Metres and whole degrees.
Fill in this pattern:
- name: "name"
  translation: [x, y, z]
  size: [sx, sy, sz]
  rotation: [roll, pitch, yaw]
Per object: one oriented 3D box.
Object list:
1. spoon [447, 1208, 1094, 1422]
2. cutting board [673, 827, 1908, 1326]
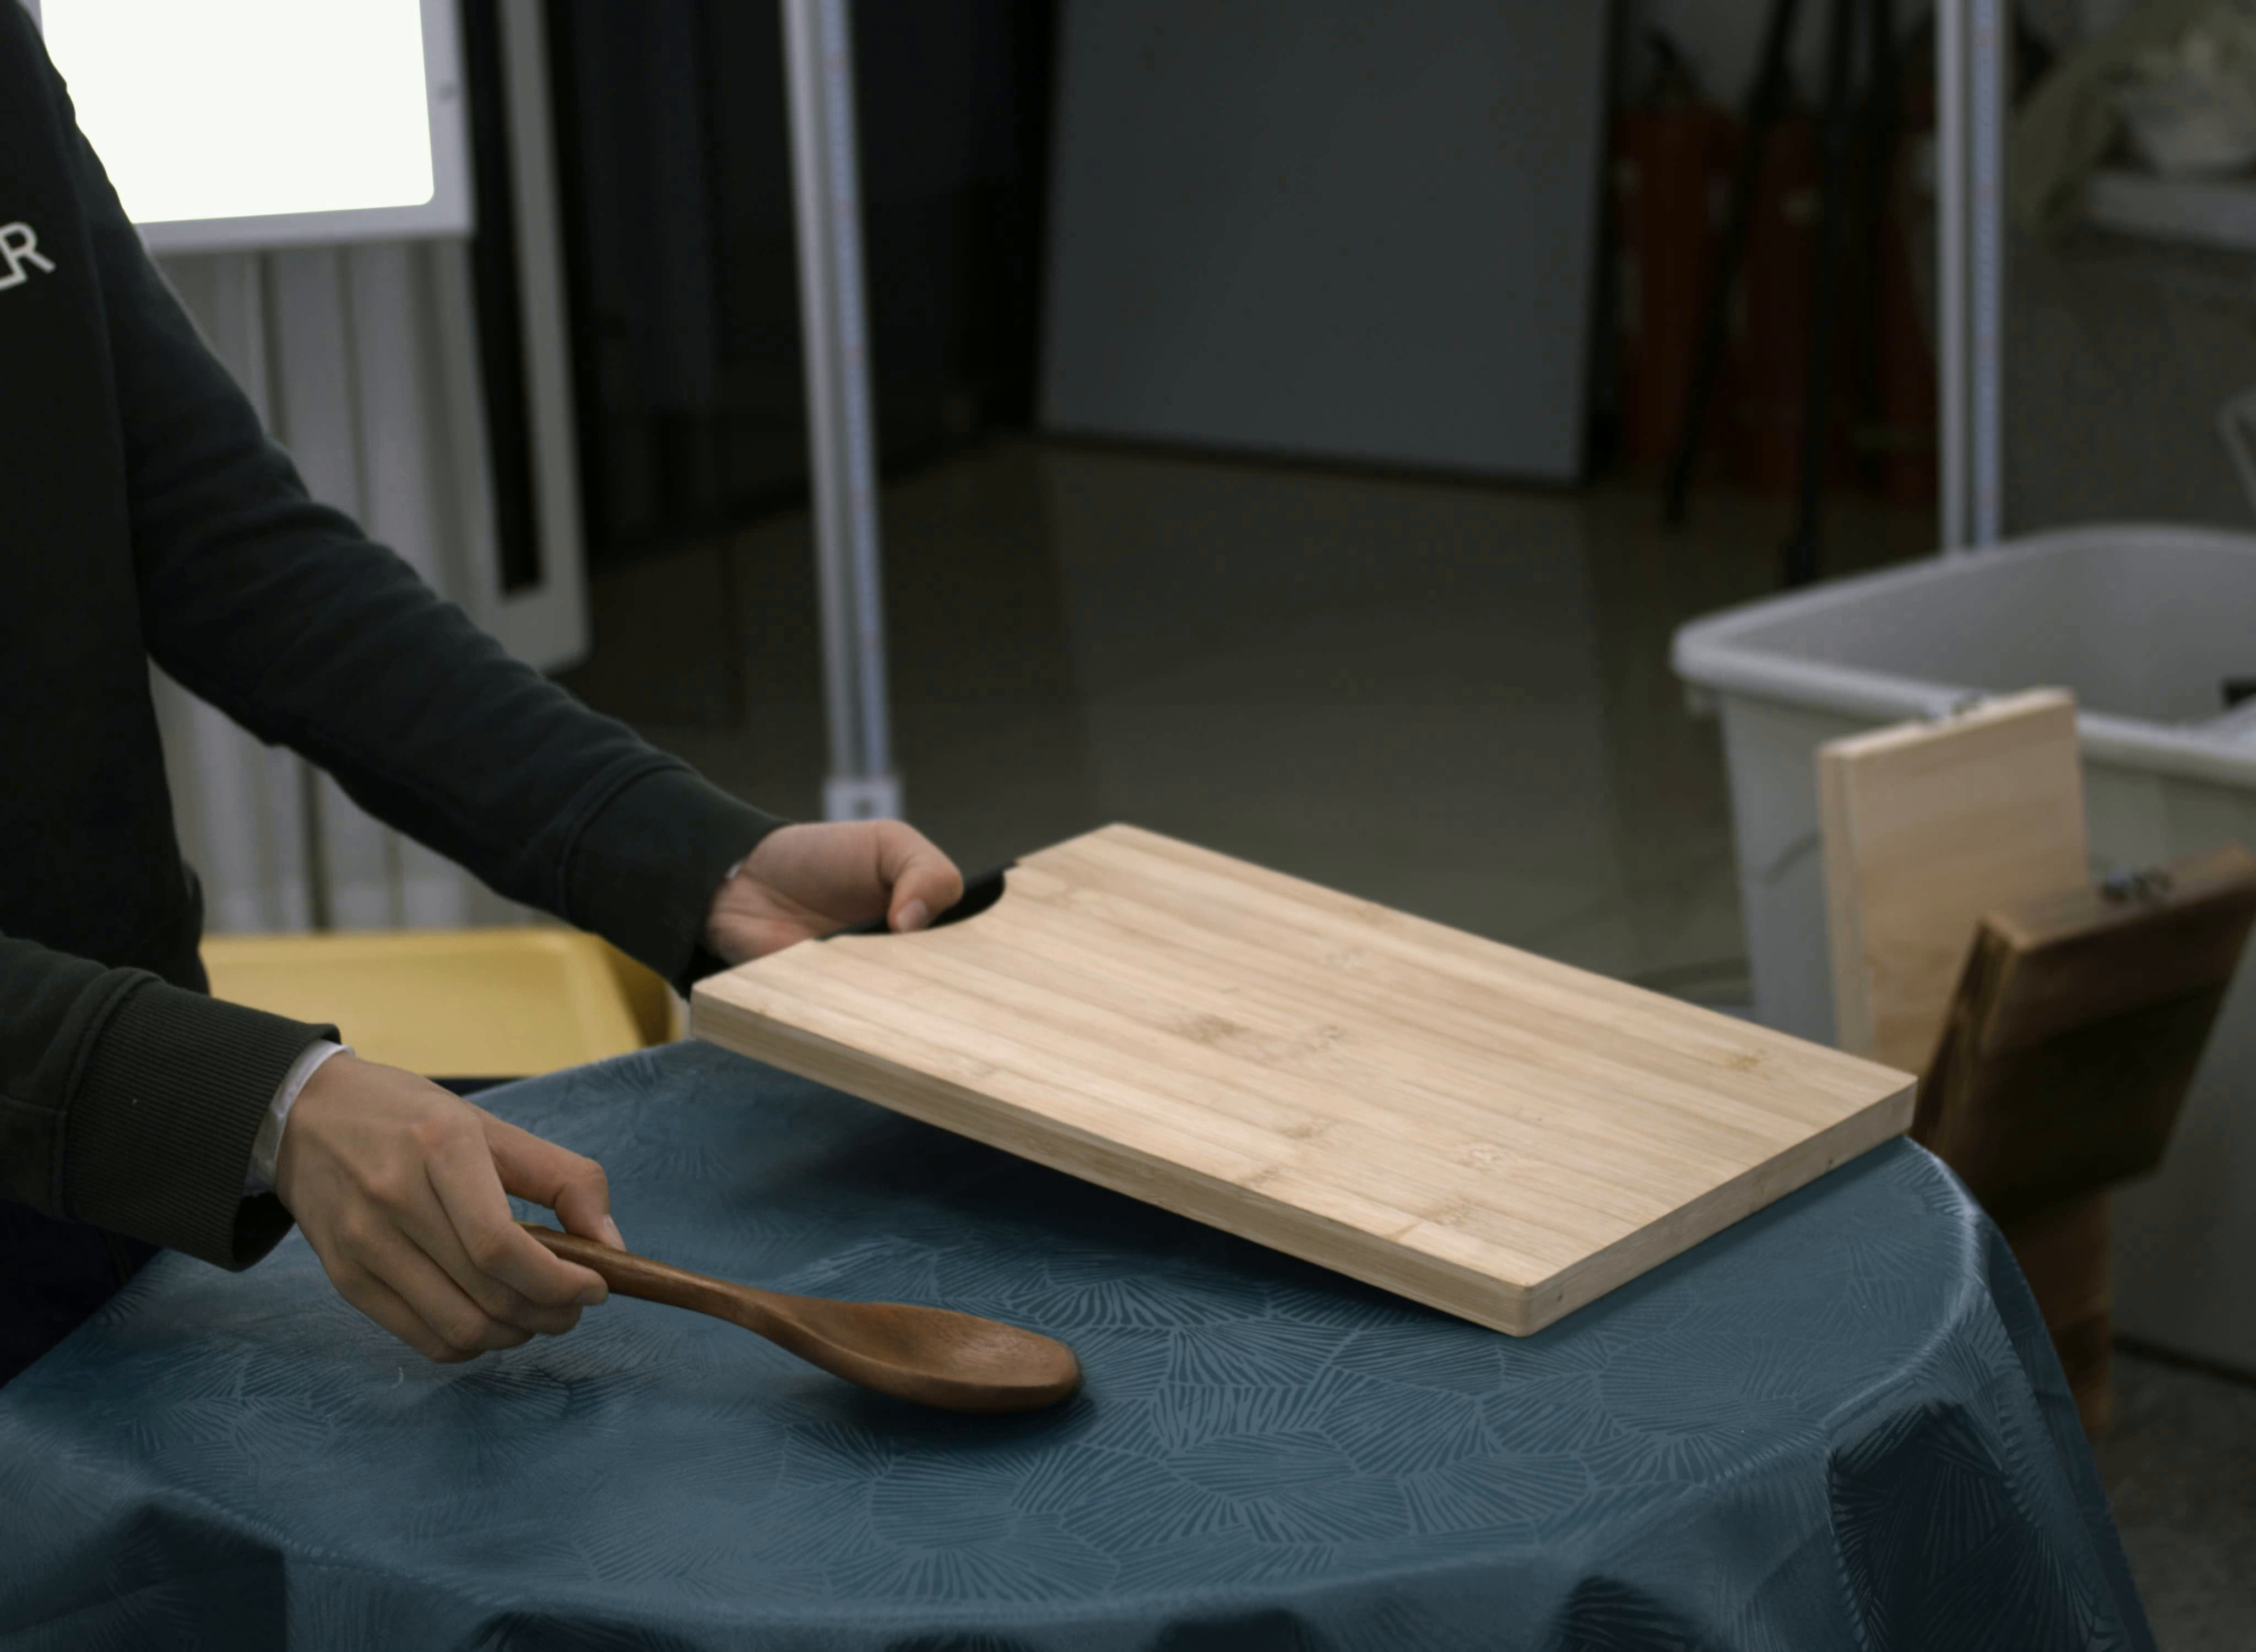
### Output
- name: "spoon"
  translation: [-0.109, 0.146, 1.609]
  size: [0.216, 0.017, 0.074]
  rotation: [13, 14, 24]
- name: "cutting board"
  translation: [0.053, 0.077, 1.795]
  size: [0.351, 0.024, 0.246]
  rotation: [16, 23, 34]
